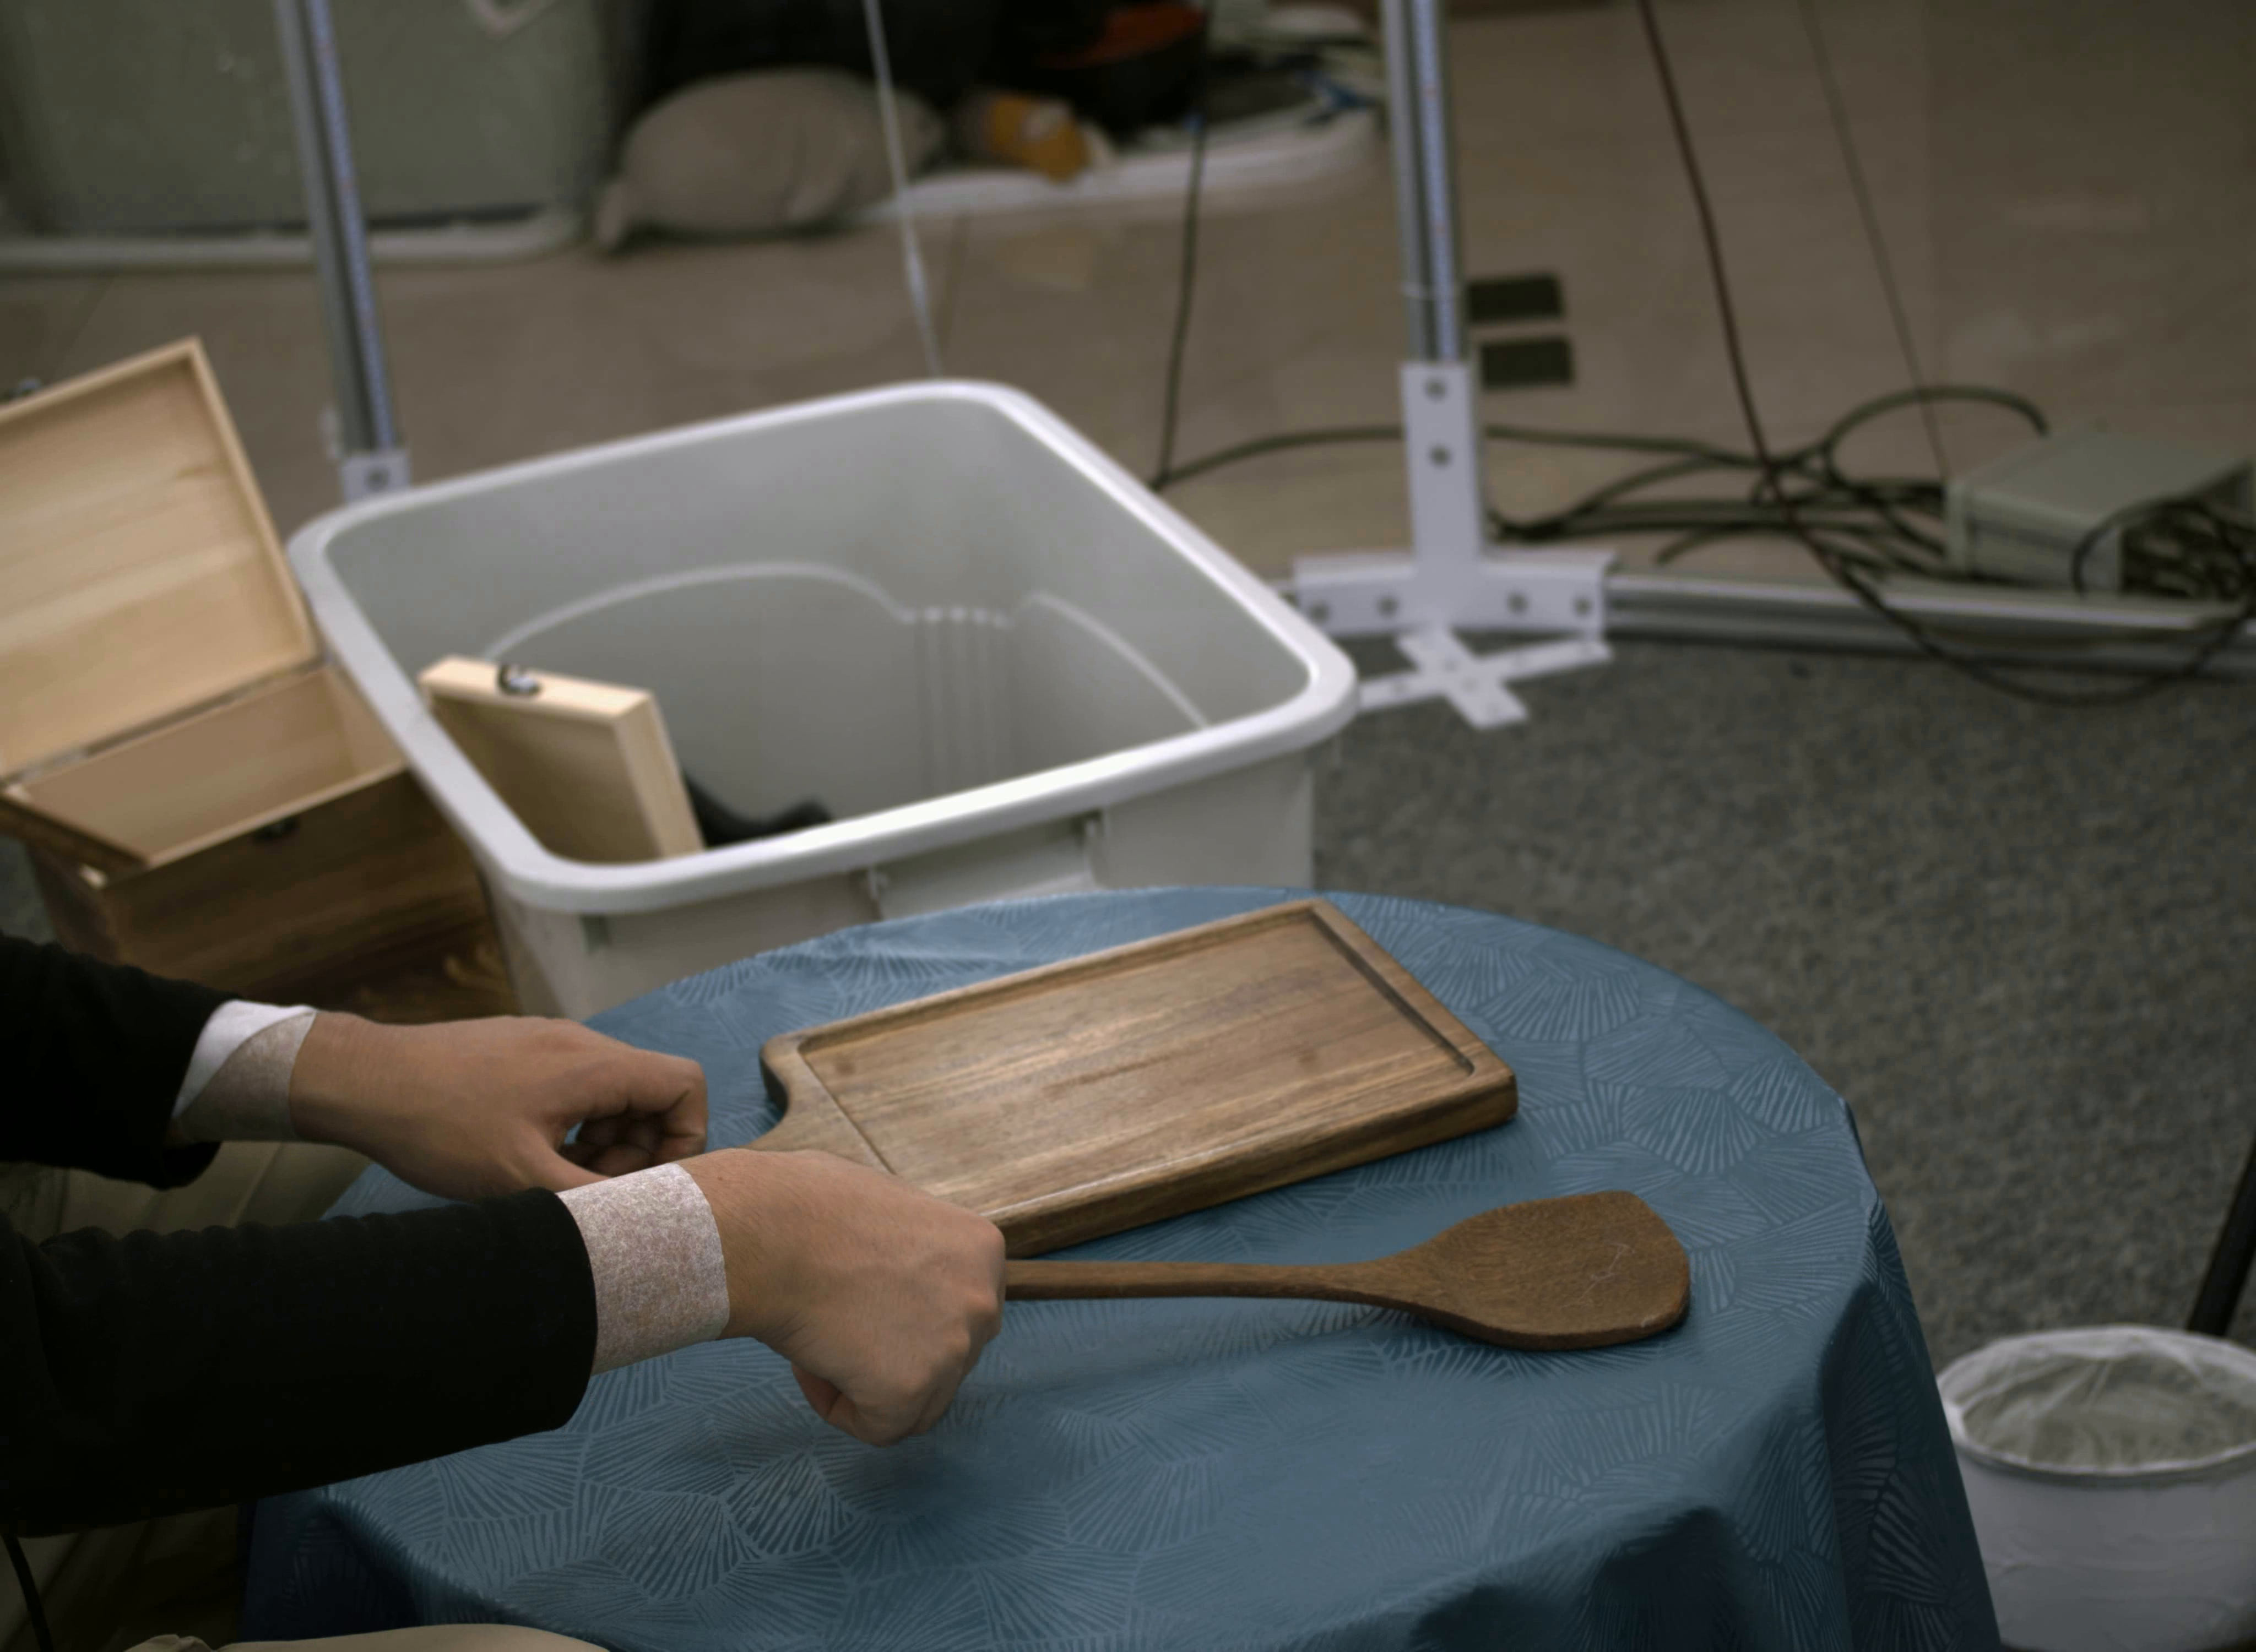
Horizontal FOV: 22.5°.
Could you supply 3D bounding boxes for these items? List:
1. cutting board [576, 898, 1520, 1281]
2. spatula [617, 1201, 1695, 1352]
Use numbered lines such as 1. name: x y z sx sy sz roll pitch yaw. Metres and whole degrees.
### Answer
1. cutting board: -0.045 0.110 2.196 0.351 0.023 0.198 -15 26 -17
2. spatula: 0.011 0.164 2.027 0.385 0.016 0.094 -1 27 -7
